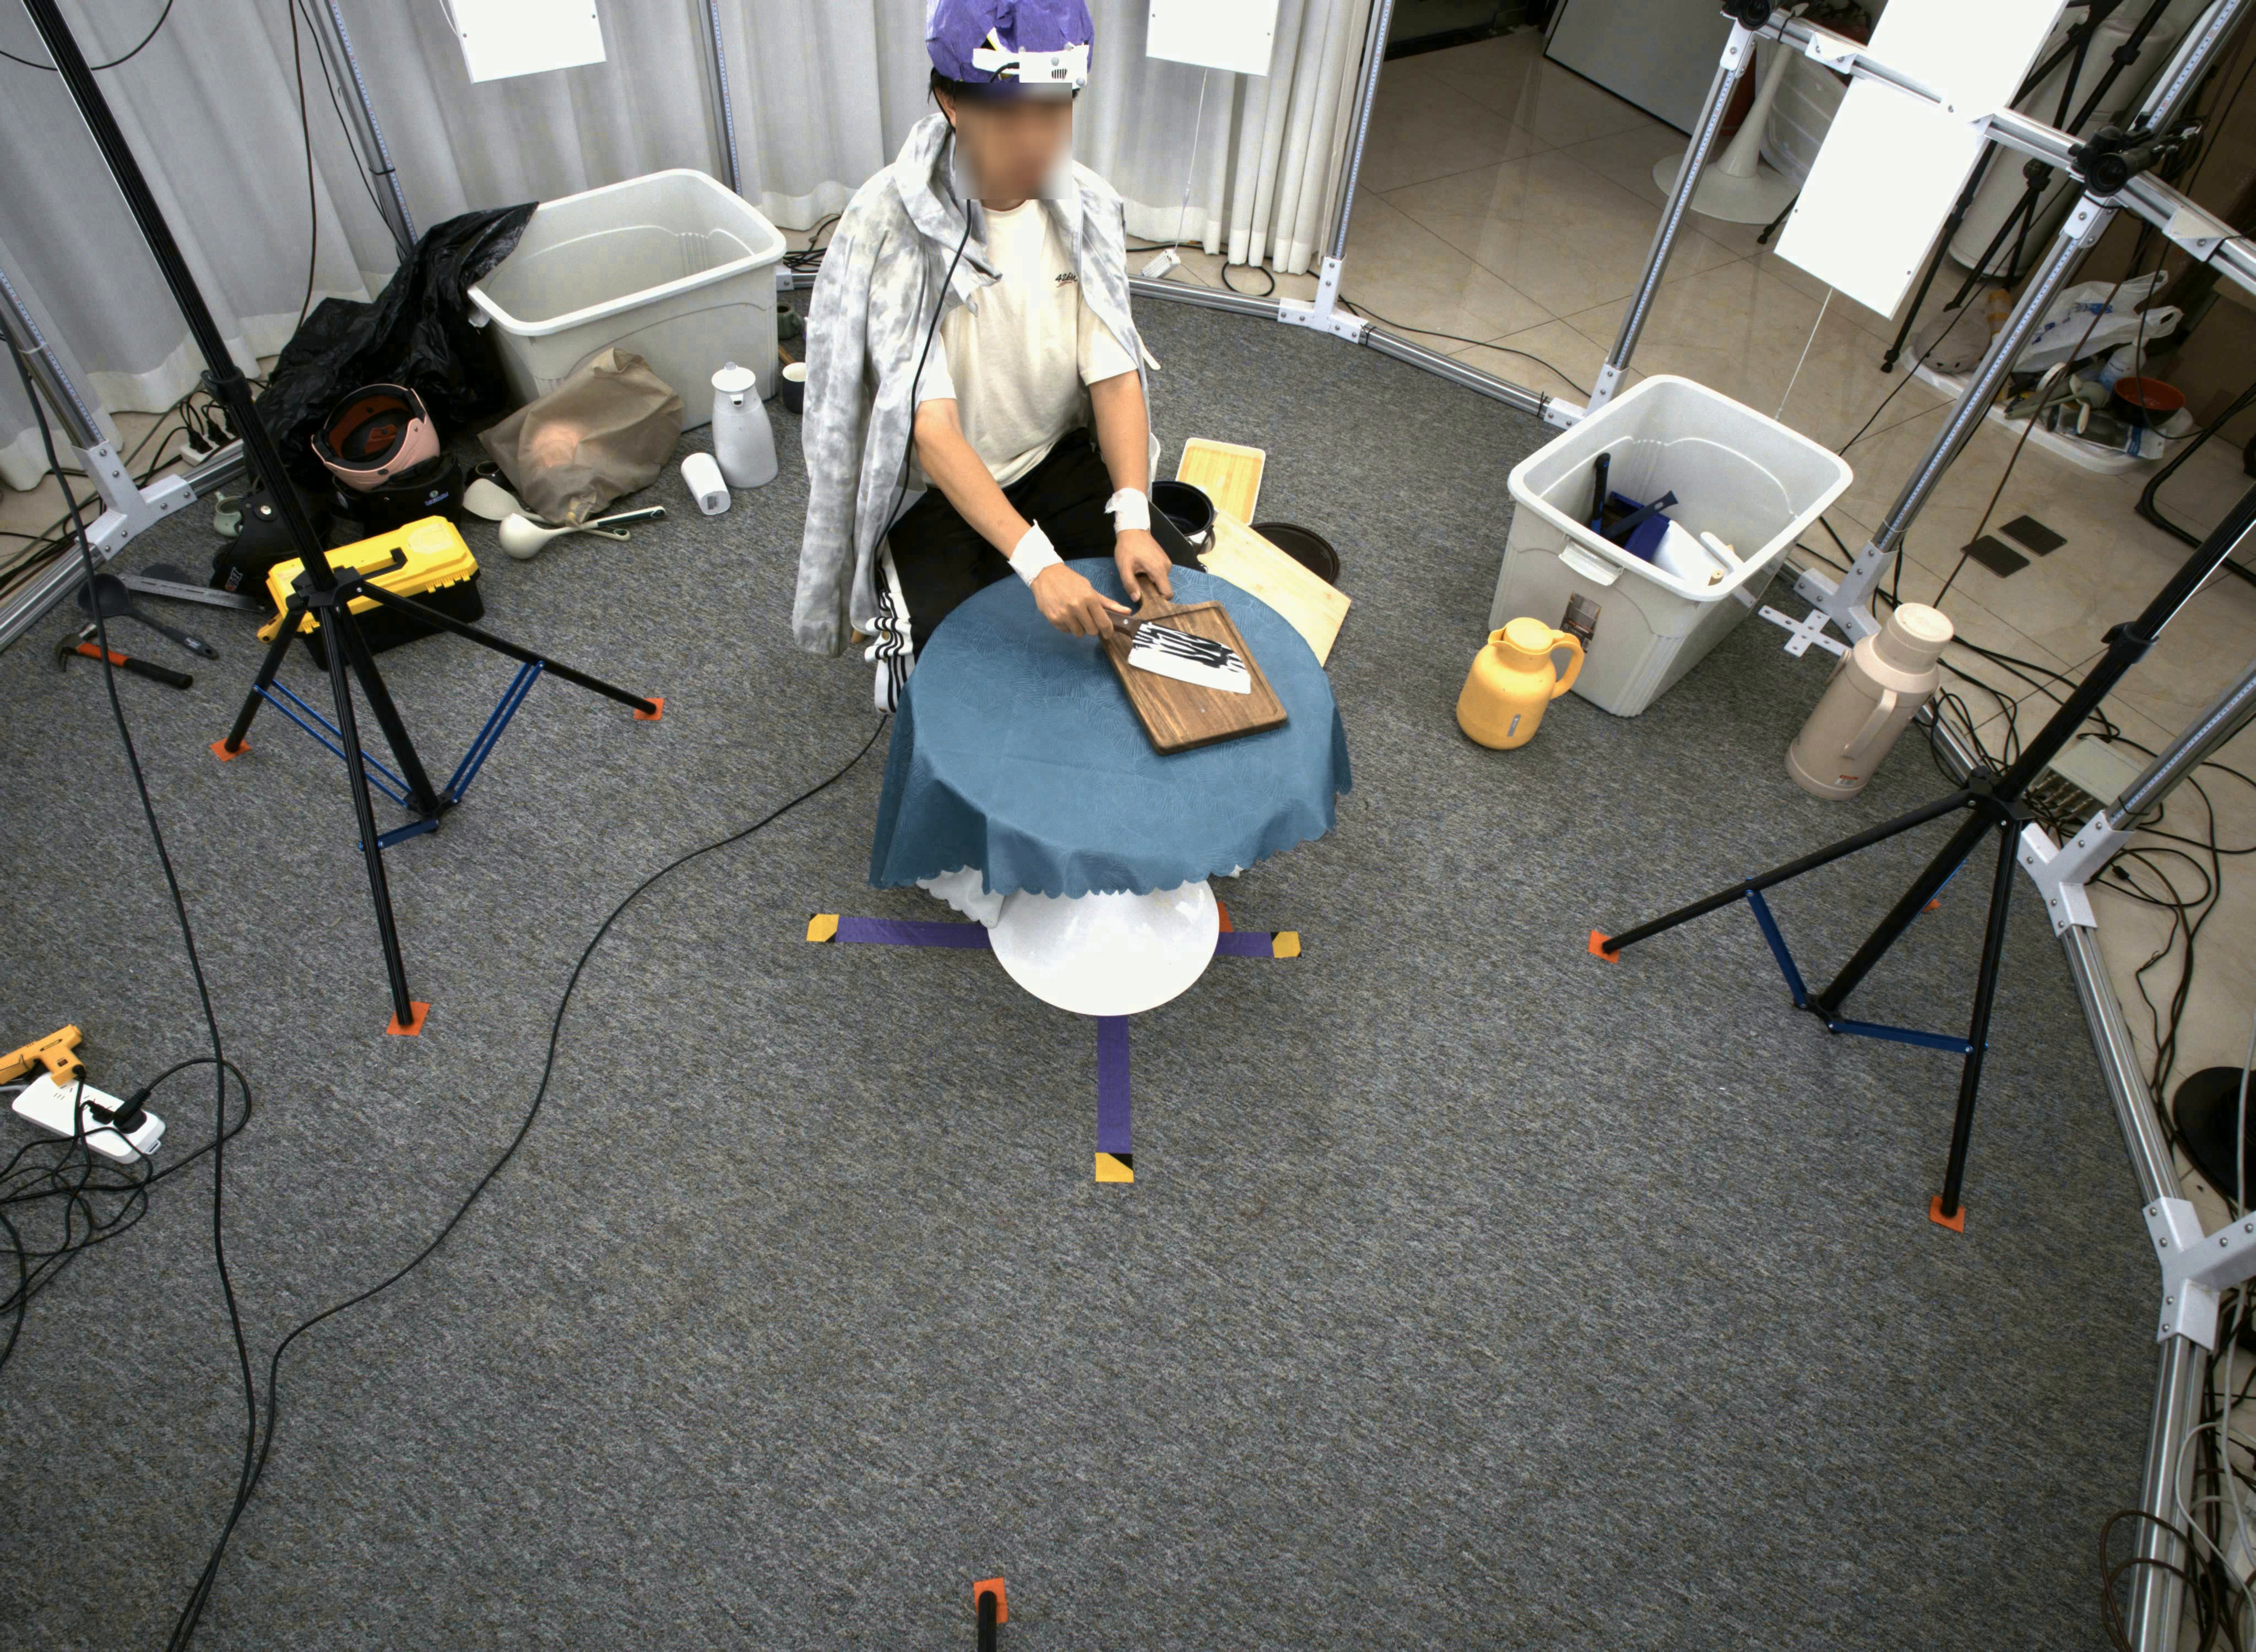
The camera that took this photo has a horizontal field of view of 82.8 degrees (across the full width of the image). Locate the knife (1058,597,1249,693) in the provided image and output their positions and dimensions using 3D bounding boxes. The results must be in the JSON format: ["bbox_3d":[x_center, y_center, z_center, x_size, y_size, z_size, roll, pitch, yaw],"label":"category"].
[{"bbox_3d":[0.035,-0.257,1.826,0.300,0.024,0.068,18,84,5],"label":"knife"}]

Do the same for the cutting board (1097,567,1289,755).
[{"bbox_3d":[0.072,-0.256,1.865,0.201,0.022,0.360,-14,53,-16],"label":"cutting board"}]
